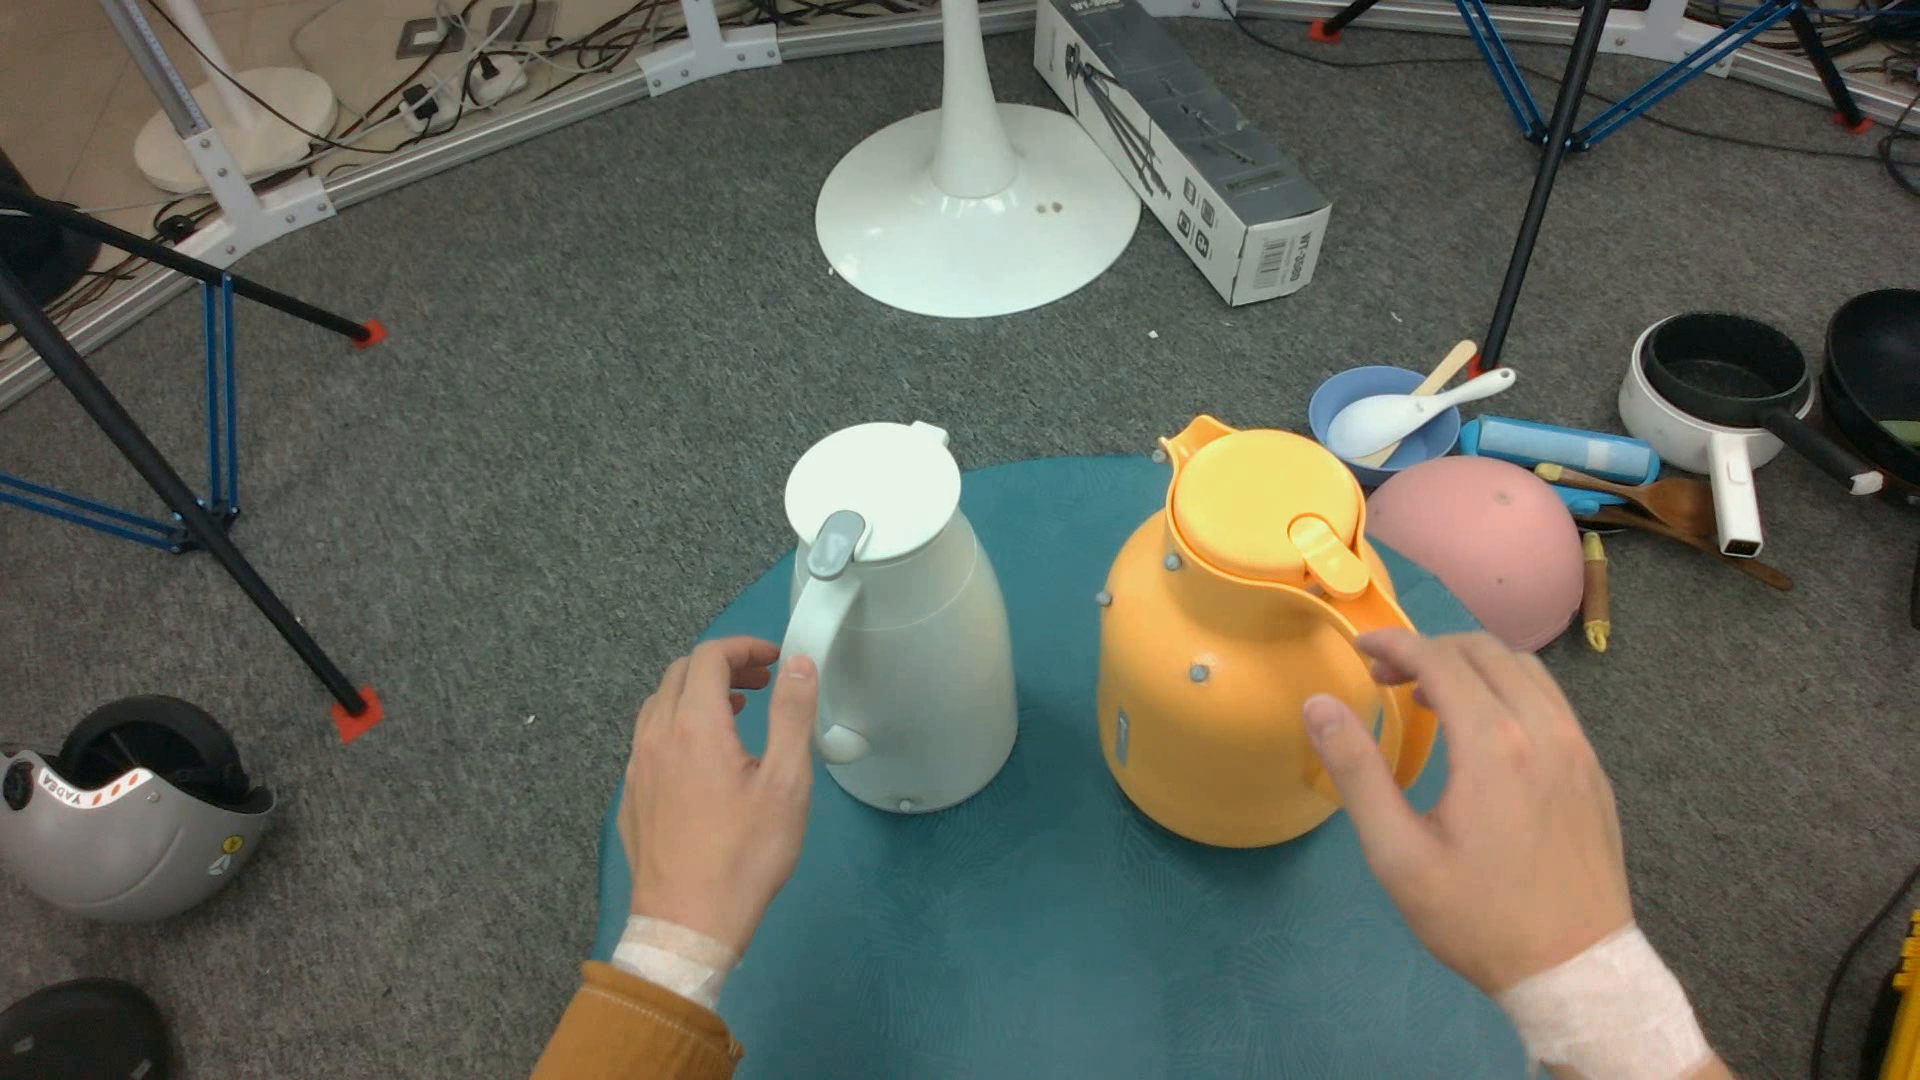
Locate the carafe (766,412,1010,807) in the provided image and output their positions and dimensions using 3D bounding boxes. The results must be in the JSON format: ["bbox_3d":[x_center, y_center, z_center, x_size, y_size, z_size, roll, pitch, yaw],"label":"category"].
[{"bbox_3d":[-0.050,0.054,0.785,0.132,0.247,0.168,19,57,18],"label":"carafe"}]

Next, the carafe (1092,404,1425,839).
[{"bbox_3d":[0.163,0.060,0.757,0.164,0.259,0.203,-28,54,-13],"label":"carafe"}]
